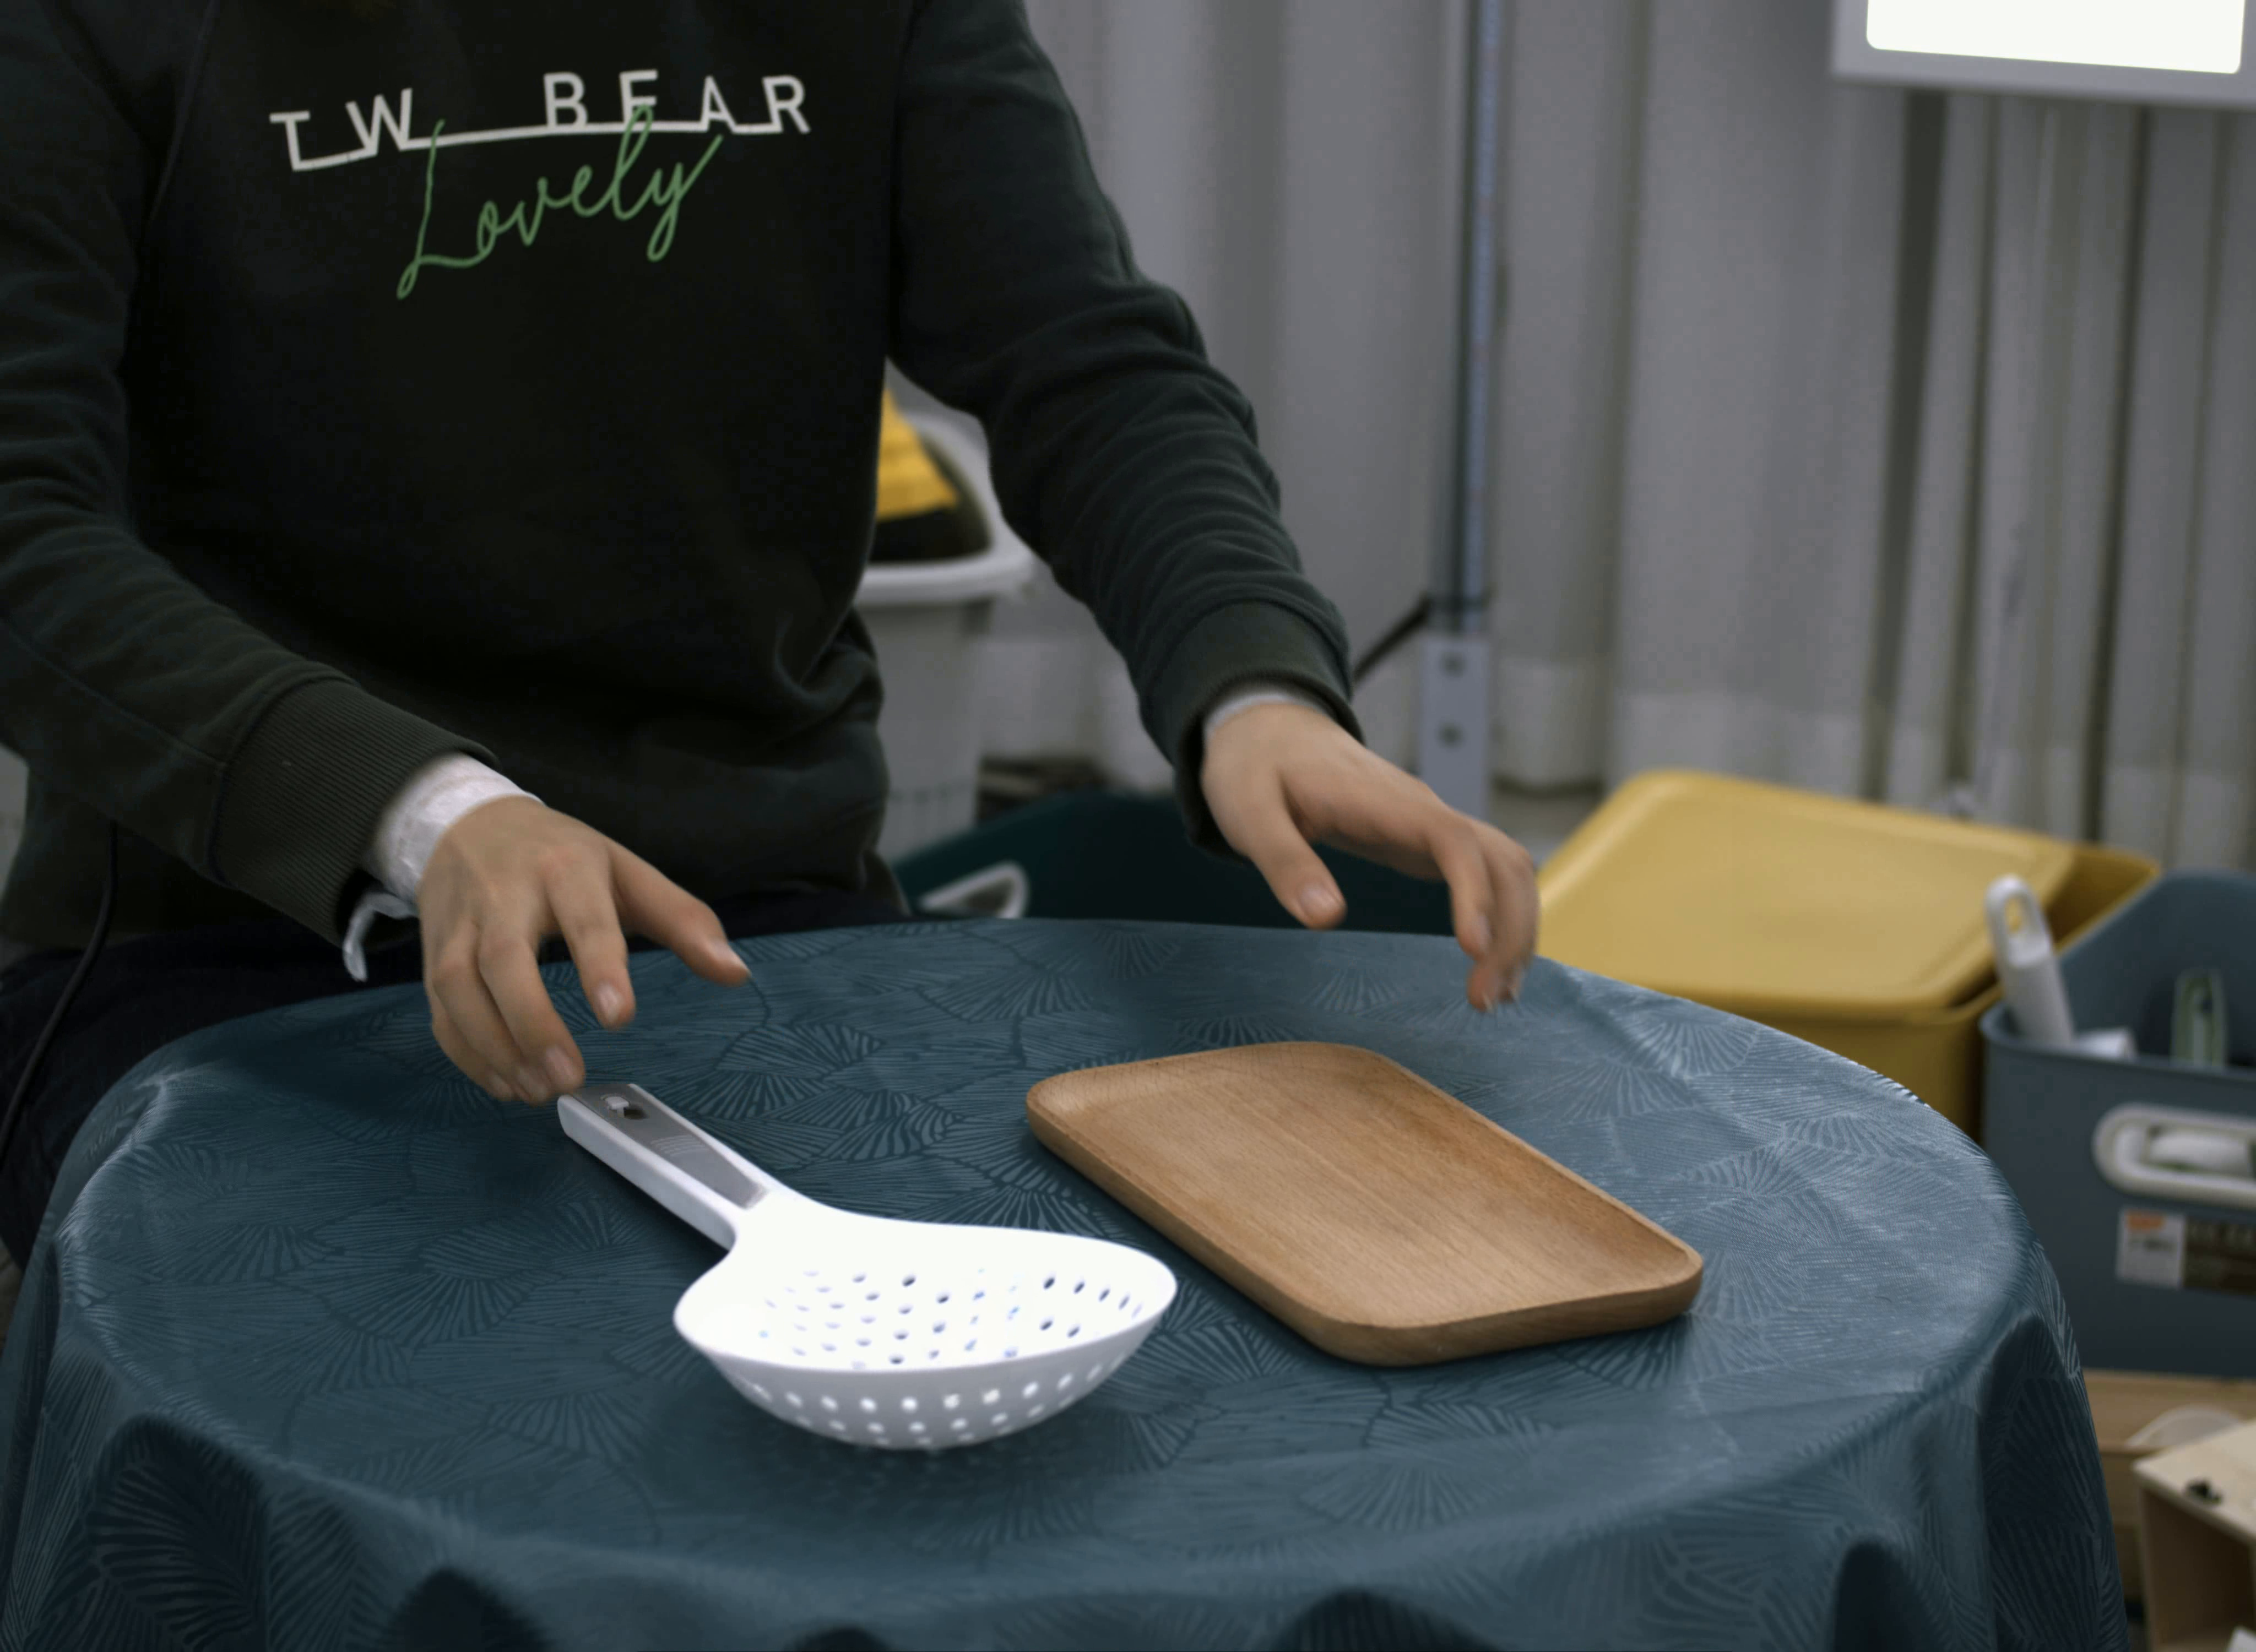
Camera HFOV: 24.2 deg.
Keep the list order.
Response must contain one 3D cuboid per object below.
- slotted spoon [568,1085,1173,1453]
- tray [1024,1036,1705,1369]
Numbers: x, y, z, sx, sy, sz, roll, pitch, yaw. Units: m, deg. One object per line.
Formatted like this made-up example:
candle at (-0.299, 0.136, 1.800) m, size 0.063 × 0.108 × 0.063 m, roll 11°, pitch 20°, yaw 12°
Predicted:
slotted spoon at (-0.098, 0.118, 1.519) m, size 0.136 × 0.046 × 0.345 m, roll -6°, pitch 17°, yaw -23°
tray at (0.067, 0.111, 1.602) m, size 0.131 × 0.023 × 0.248 m, roll -5°, pitch 16°, yaw -24°
